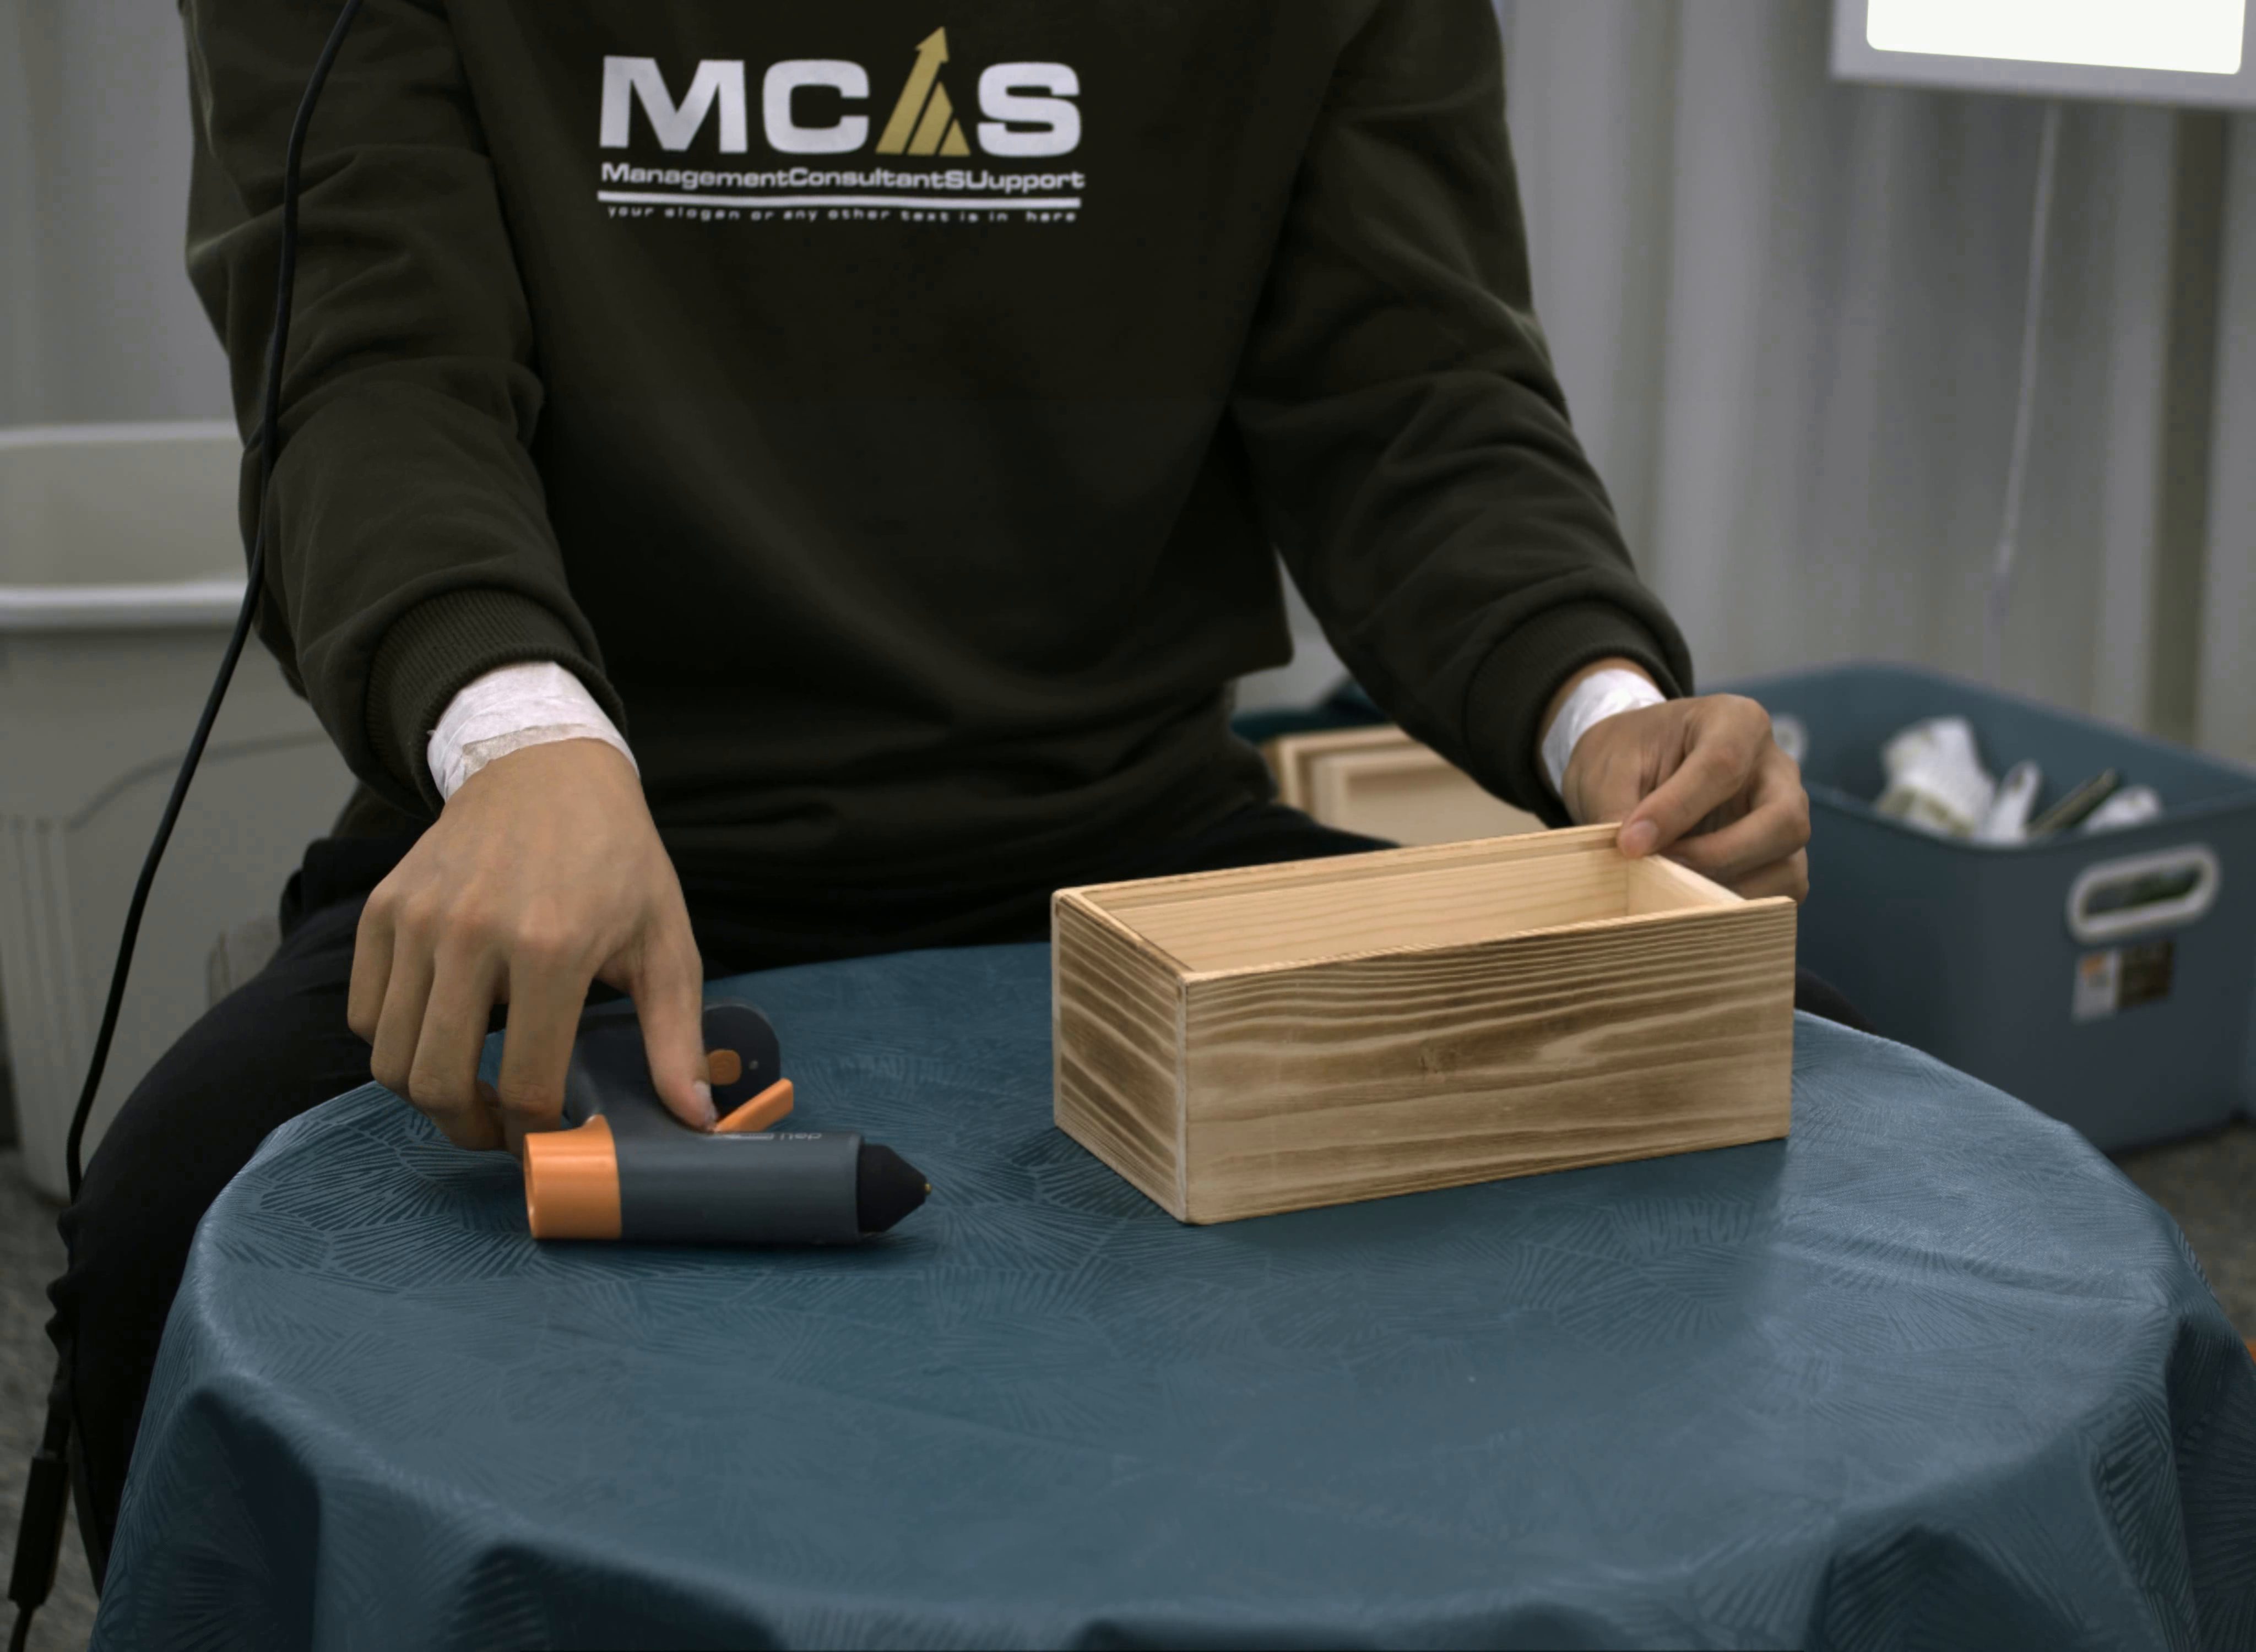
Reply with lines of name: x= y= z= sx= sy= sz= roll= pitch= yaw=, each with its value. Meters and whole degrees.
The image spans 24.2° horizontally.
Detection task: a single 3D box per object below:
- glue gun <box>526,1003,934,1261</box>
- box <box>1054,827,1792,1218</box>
glue gun: x=-0.129 y=0.097 z=1.620 sx=0.118 sy=0.041 sz=0.138 roll=1 pitch=18 yaw=-15
box: x=0.093 y=0.060 z=1.674 sx=0.212 sy=0.081 sz=0.106 roll=-6 pitch=17 yaw=-23
